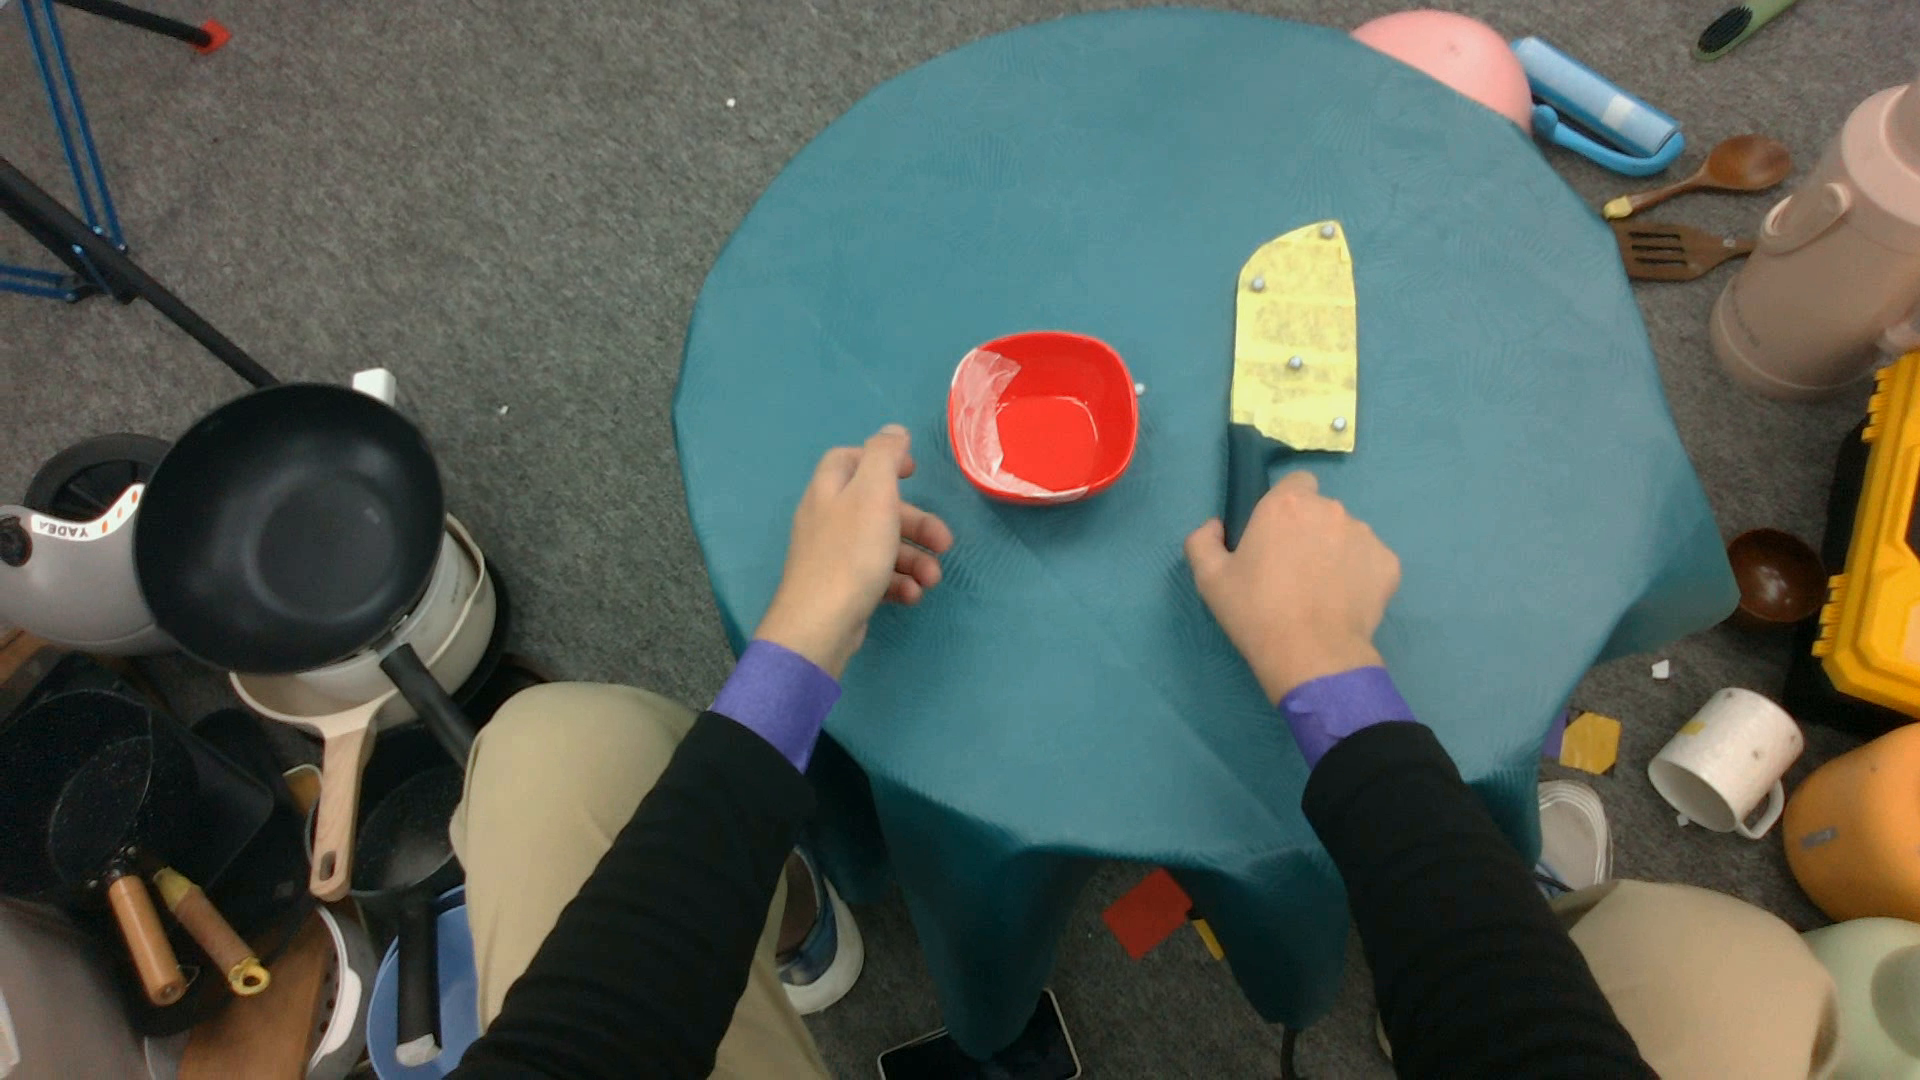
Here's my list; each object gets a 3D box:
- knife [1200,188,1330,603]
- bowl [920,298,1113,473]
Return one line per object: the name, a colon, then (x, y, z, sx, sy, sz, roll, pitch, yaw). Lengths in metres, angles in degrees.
knife: (0.181, -0.095, 0.827, 0.081, 0.027, 0.290, 7, 67, 8)
bowl: (0.033, -0.083, 0.810, 0.119, 0.051, 0.119, -1, 66, 2)
